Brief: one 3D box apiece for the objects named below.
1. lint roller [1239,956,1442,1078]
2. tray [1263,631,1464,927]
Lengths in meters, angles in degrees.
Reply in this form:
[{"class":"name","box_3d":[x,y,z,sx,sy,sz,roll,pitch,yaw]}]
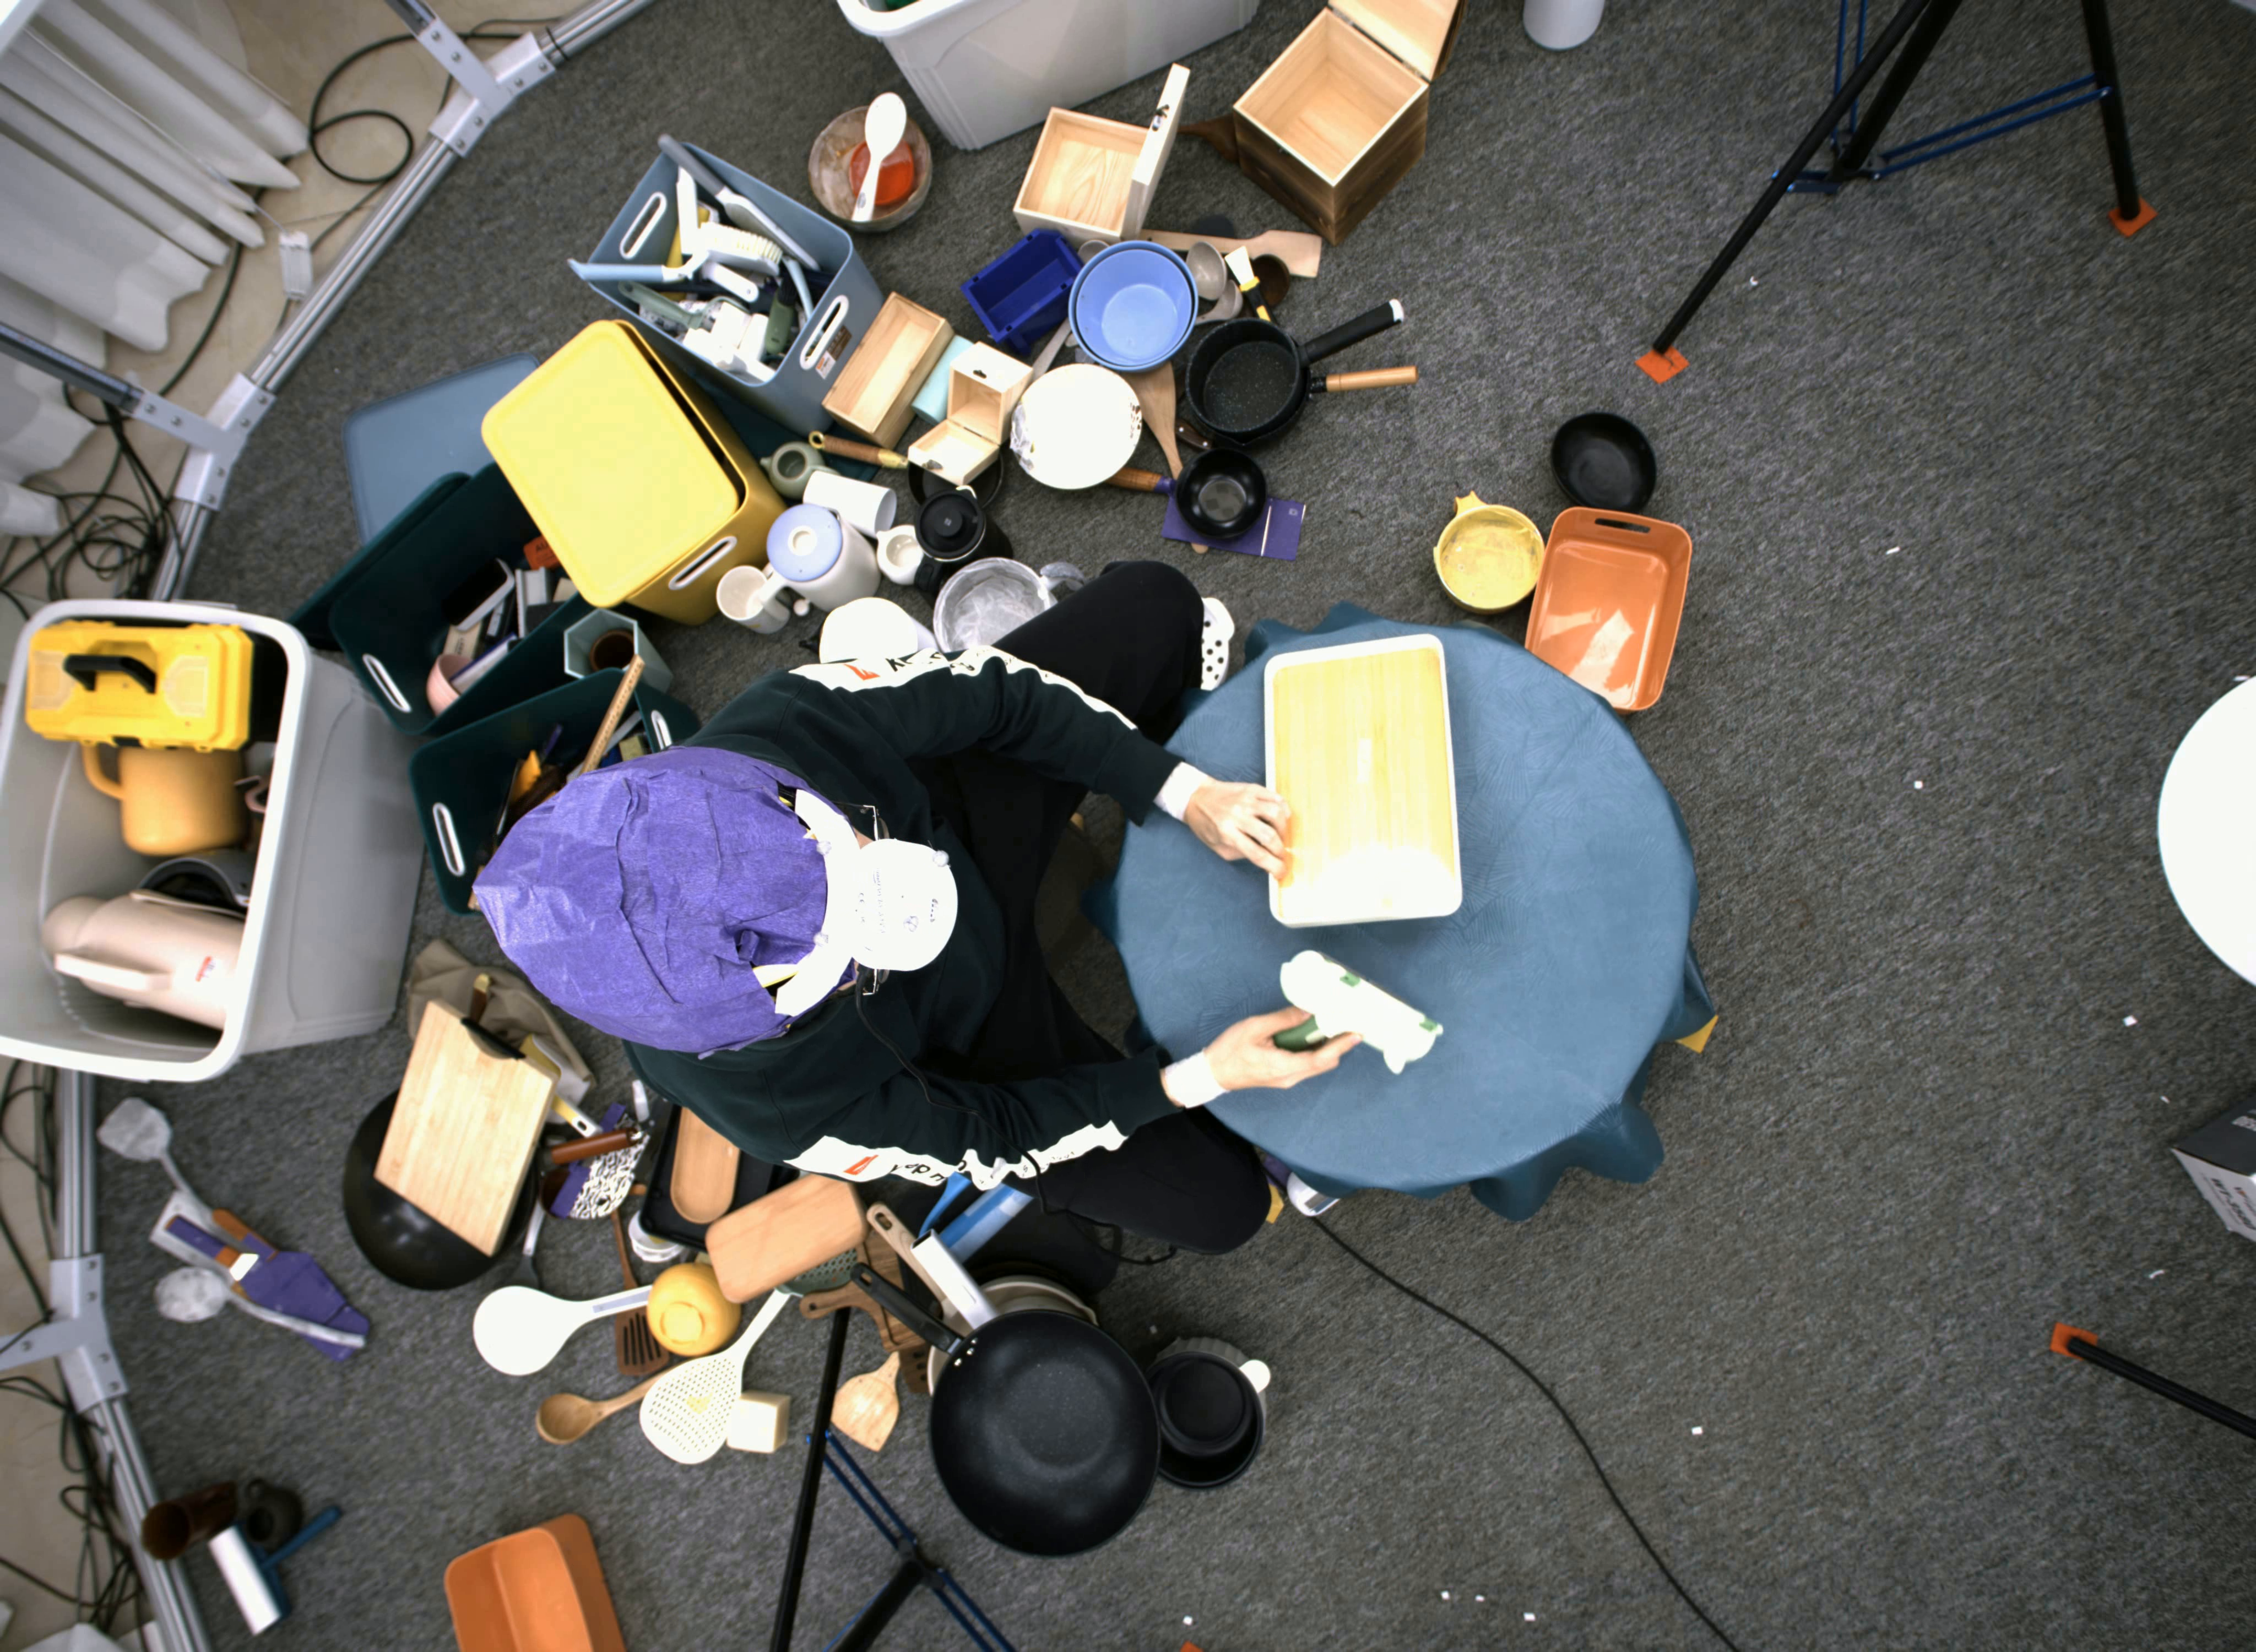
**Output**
[{"class":"lint roller","box_3d":[0.188,0.215,1.369,0.186,0.200,0.080,-35,45,27]},{"class":"tray","box_3d":[0.237,-0.051,1.408,0.193,0.027,0.295,-6,72,19]}]
